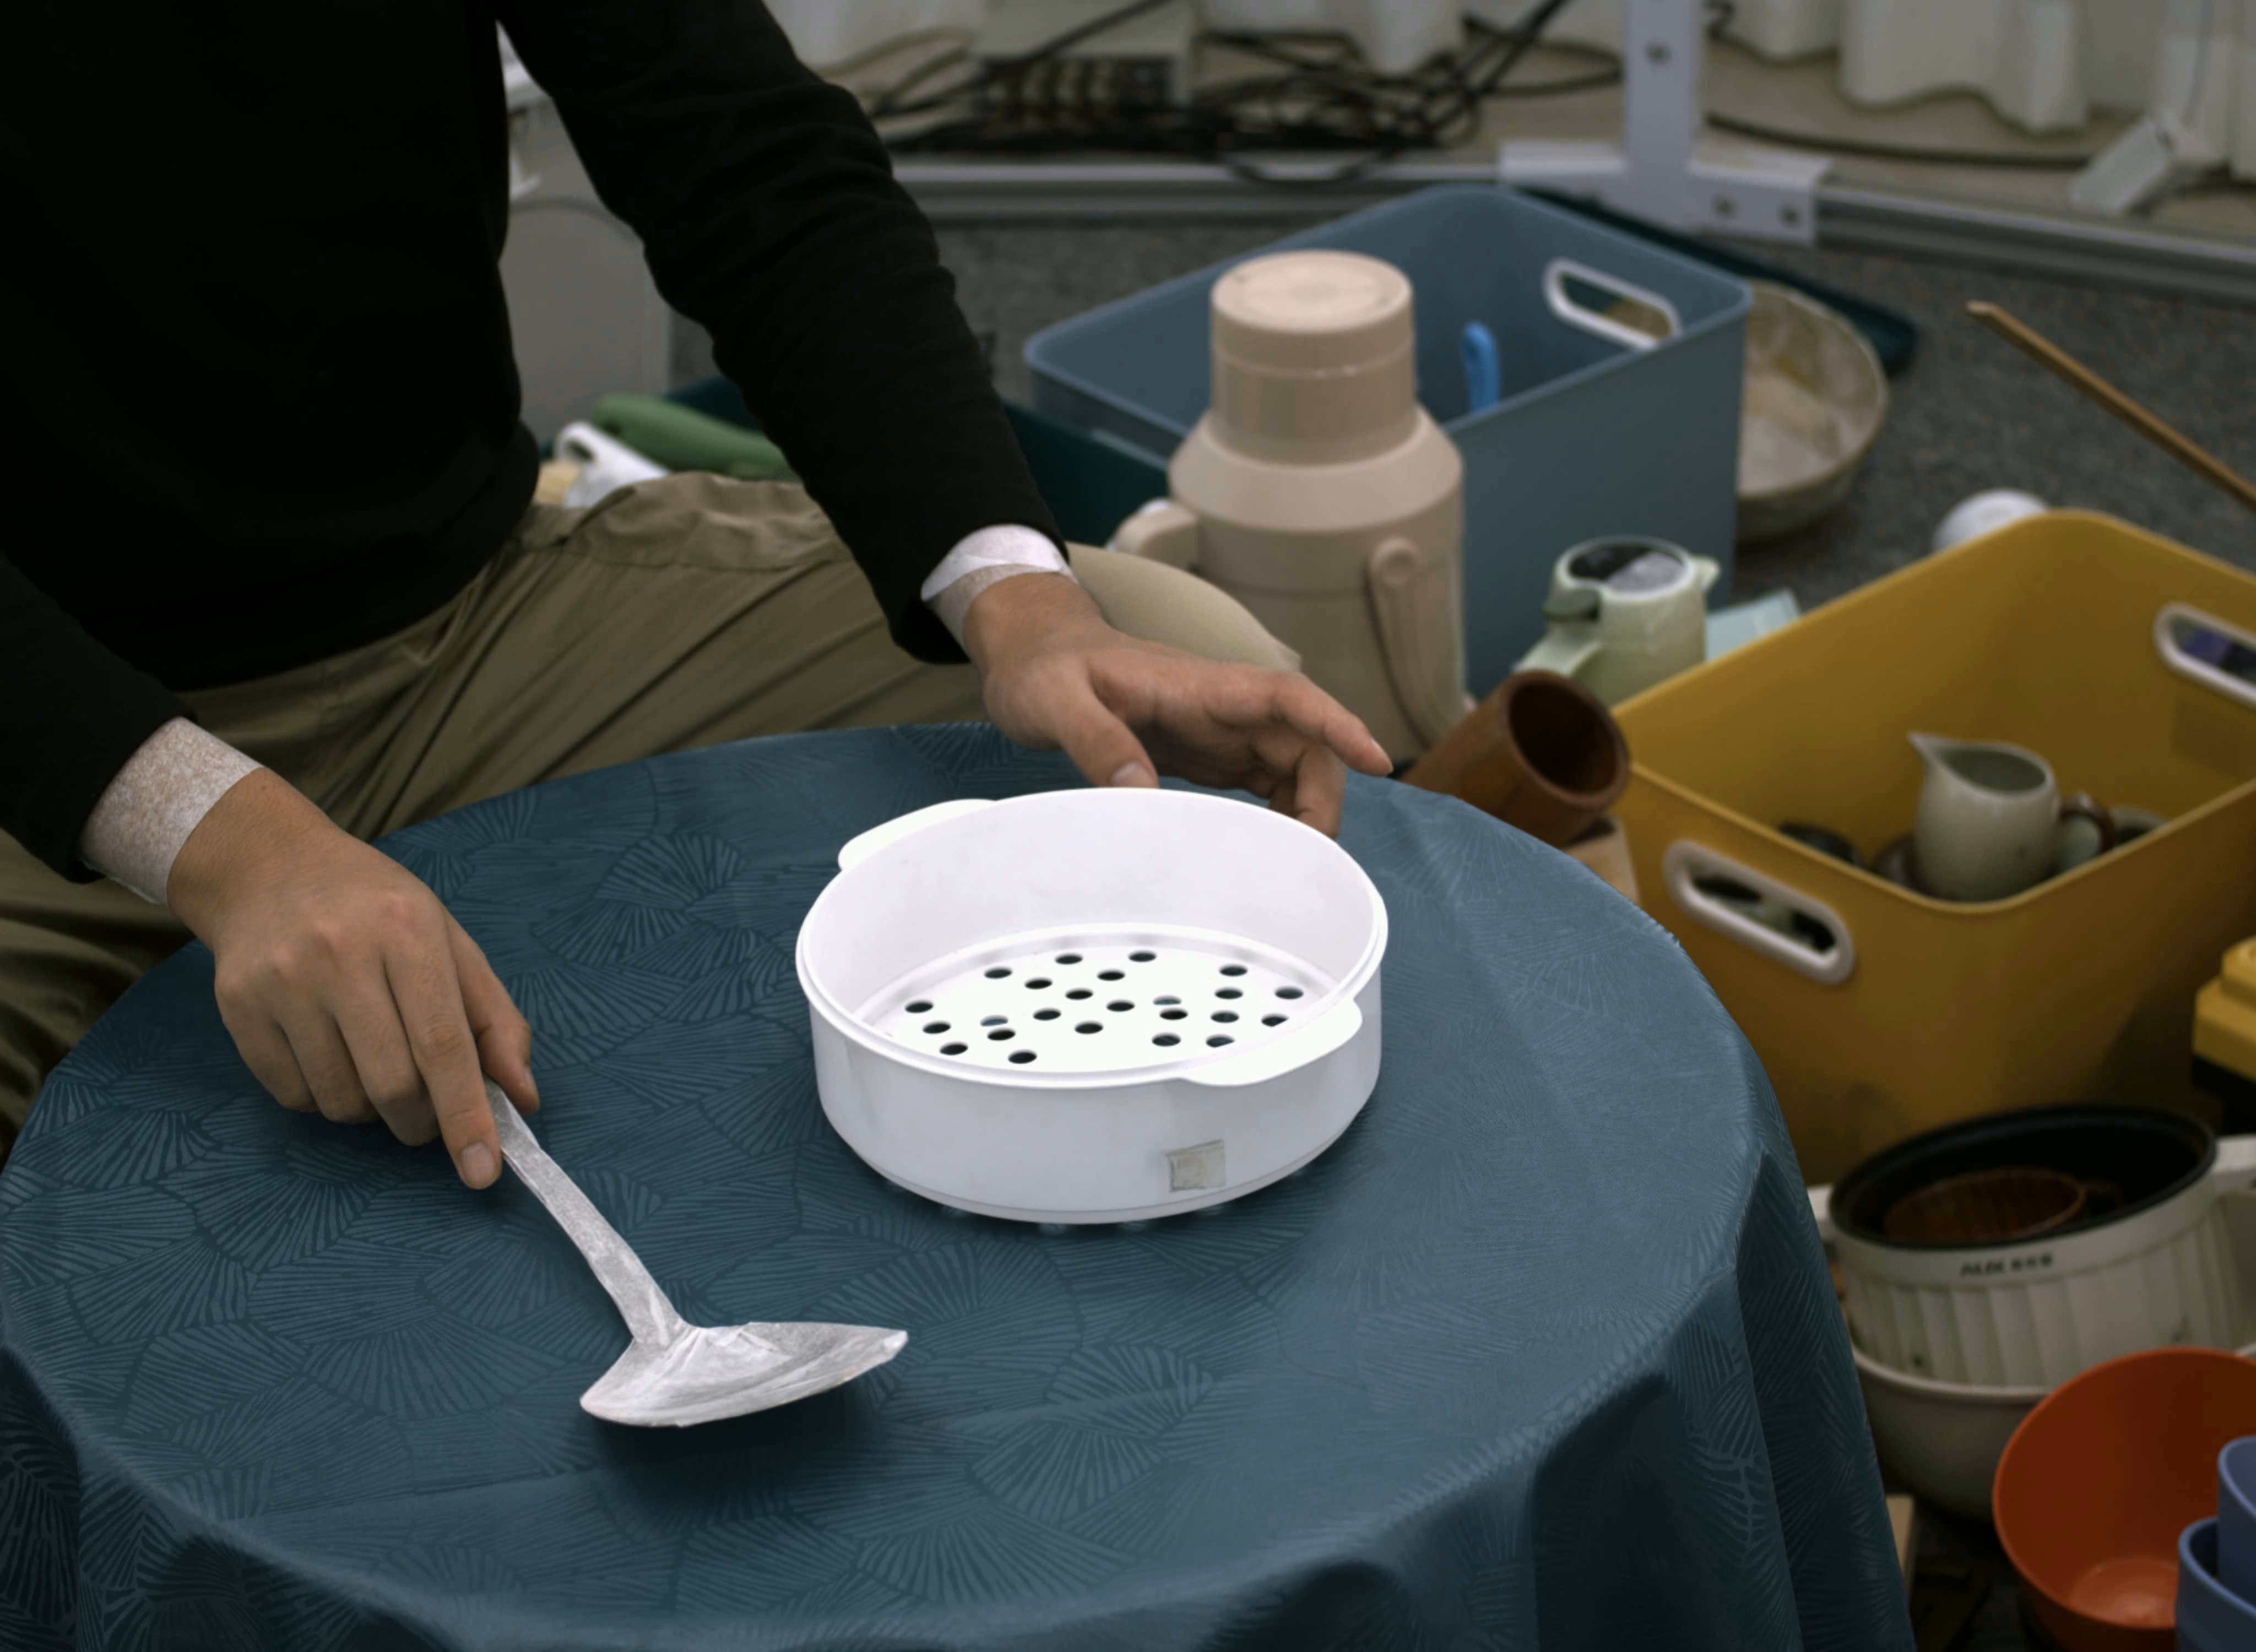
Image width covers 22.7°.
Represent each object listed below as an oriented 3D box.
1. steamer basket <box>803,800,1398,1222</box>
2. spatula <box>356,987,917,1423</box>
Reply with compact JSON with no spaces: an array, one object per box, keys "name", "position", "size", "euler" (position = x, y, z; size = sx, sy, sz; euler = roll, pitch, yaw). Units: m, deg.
[{"name":"steamer basket","position":[-0.008,0.063,1.901],"size":[0.204,0.068,0.231],"euler":[-20,31,-32]},{"name":"spatula","position":[-0.186,0.116,1.845],"size":[0.099,0.044,0.367],"euler":[-16,31,-25]}]
